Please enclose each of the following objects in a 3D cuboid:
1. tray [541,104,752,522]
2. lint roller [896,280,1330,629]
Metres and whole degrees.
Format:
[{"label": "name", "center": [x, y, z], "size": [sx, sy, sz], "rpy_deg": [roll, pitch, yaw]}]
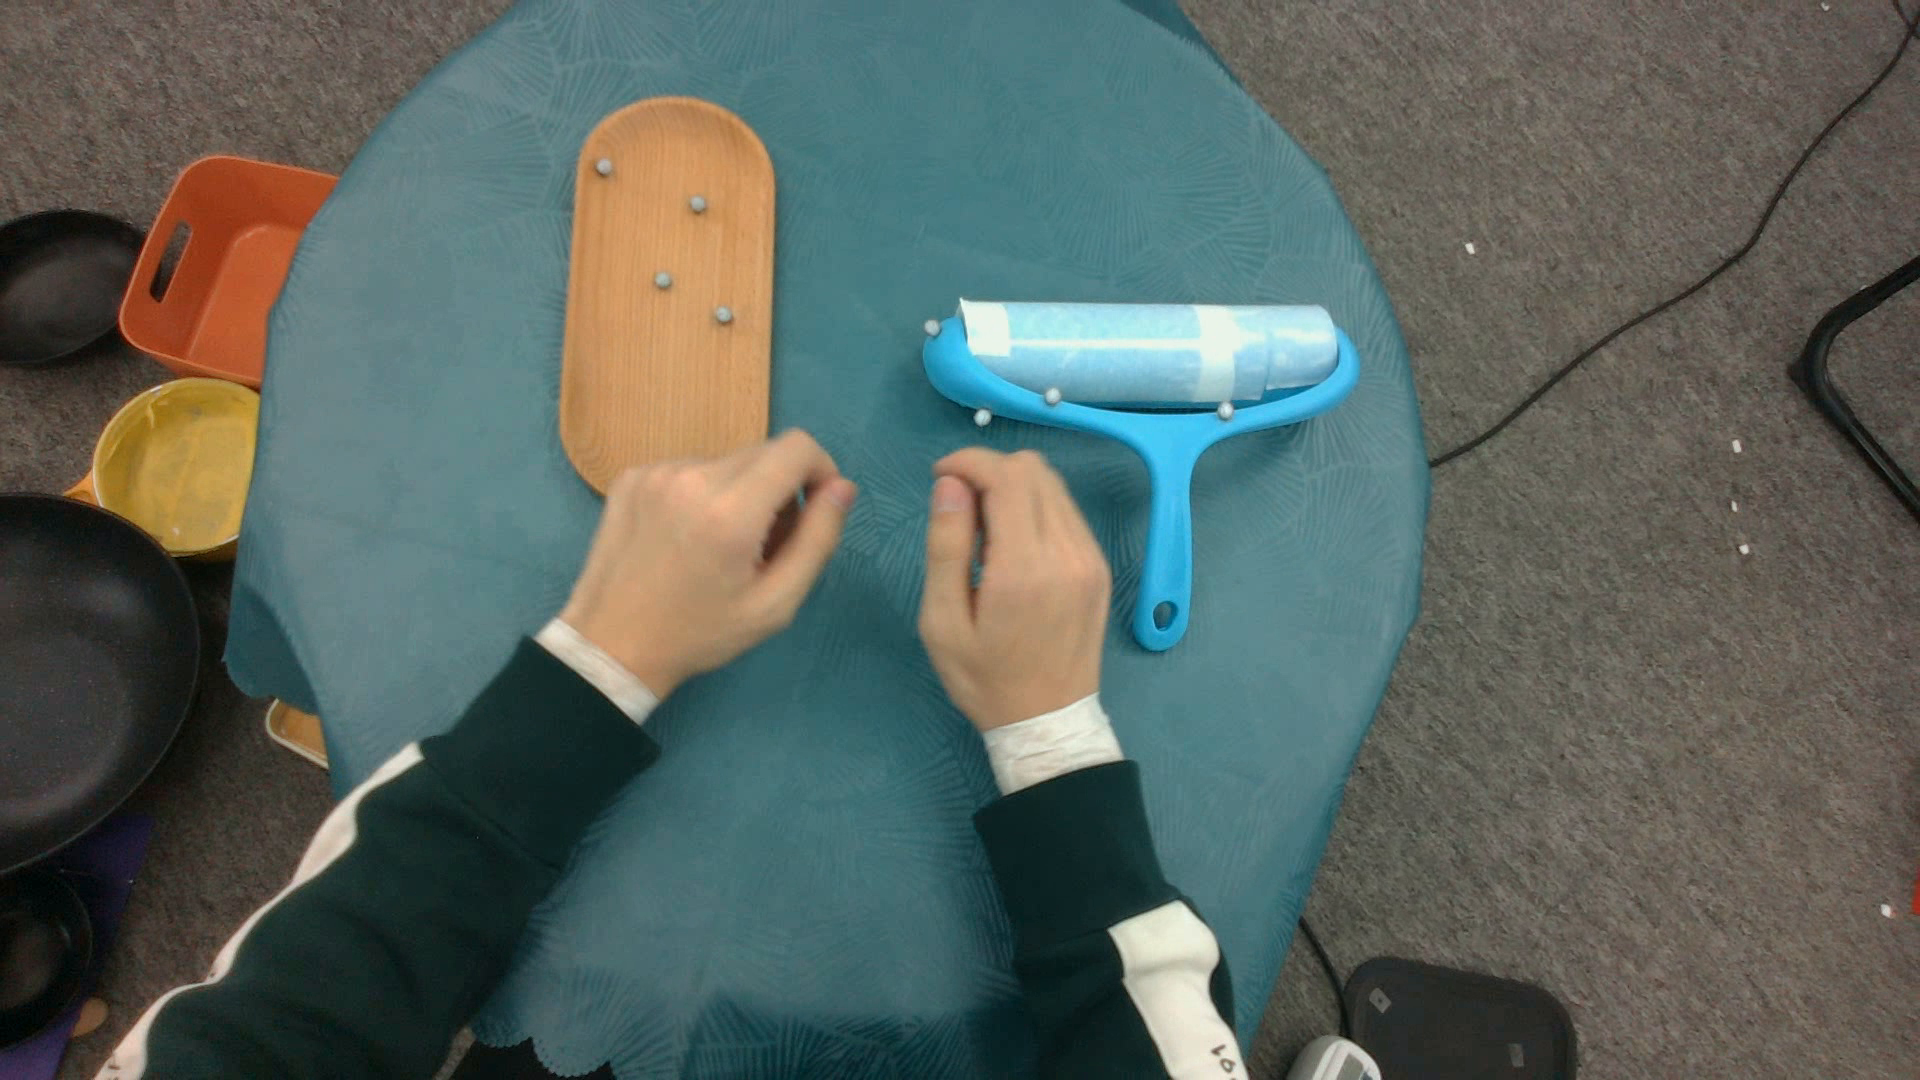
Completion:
[{"label": "tray", "center": [-0.158, -0.119, 0.700], "size": [0.102, 0.020, 0.231], "rpy_deg": [-1, 74, -9]}, {"label": "lint roller", "center": [0.089, -0.050, 0.698], "size": [0.229, 0.067, 0.180], "rpy_deg": [-5, 72, -13]}]
